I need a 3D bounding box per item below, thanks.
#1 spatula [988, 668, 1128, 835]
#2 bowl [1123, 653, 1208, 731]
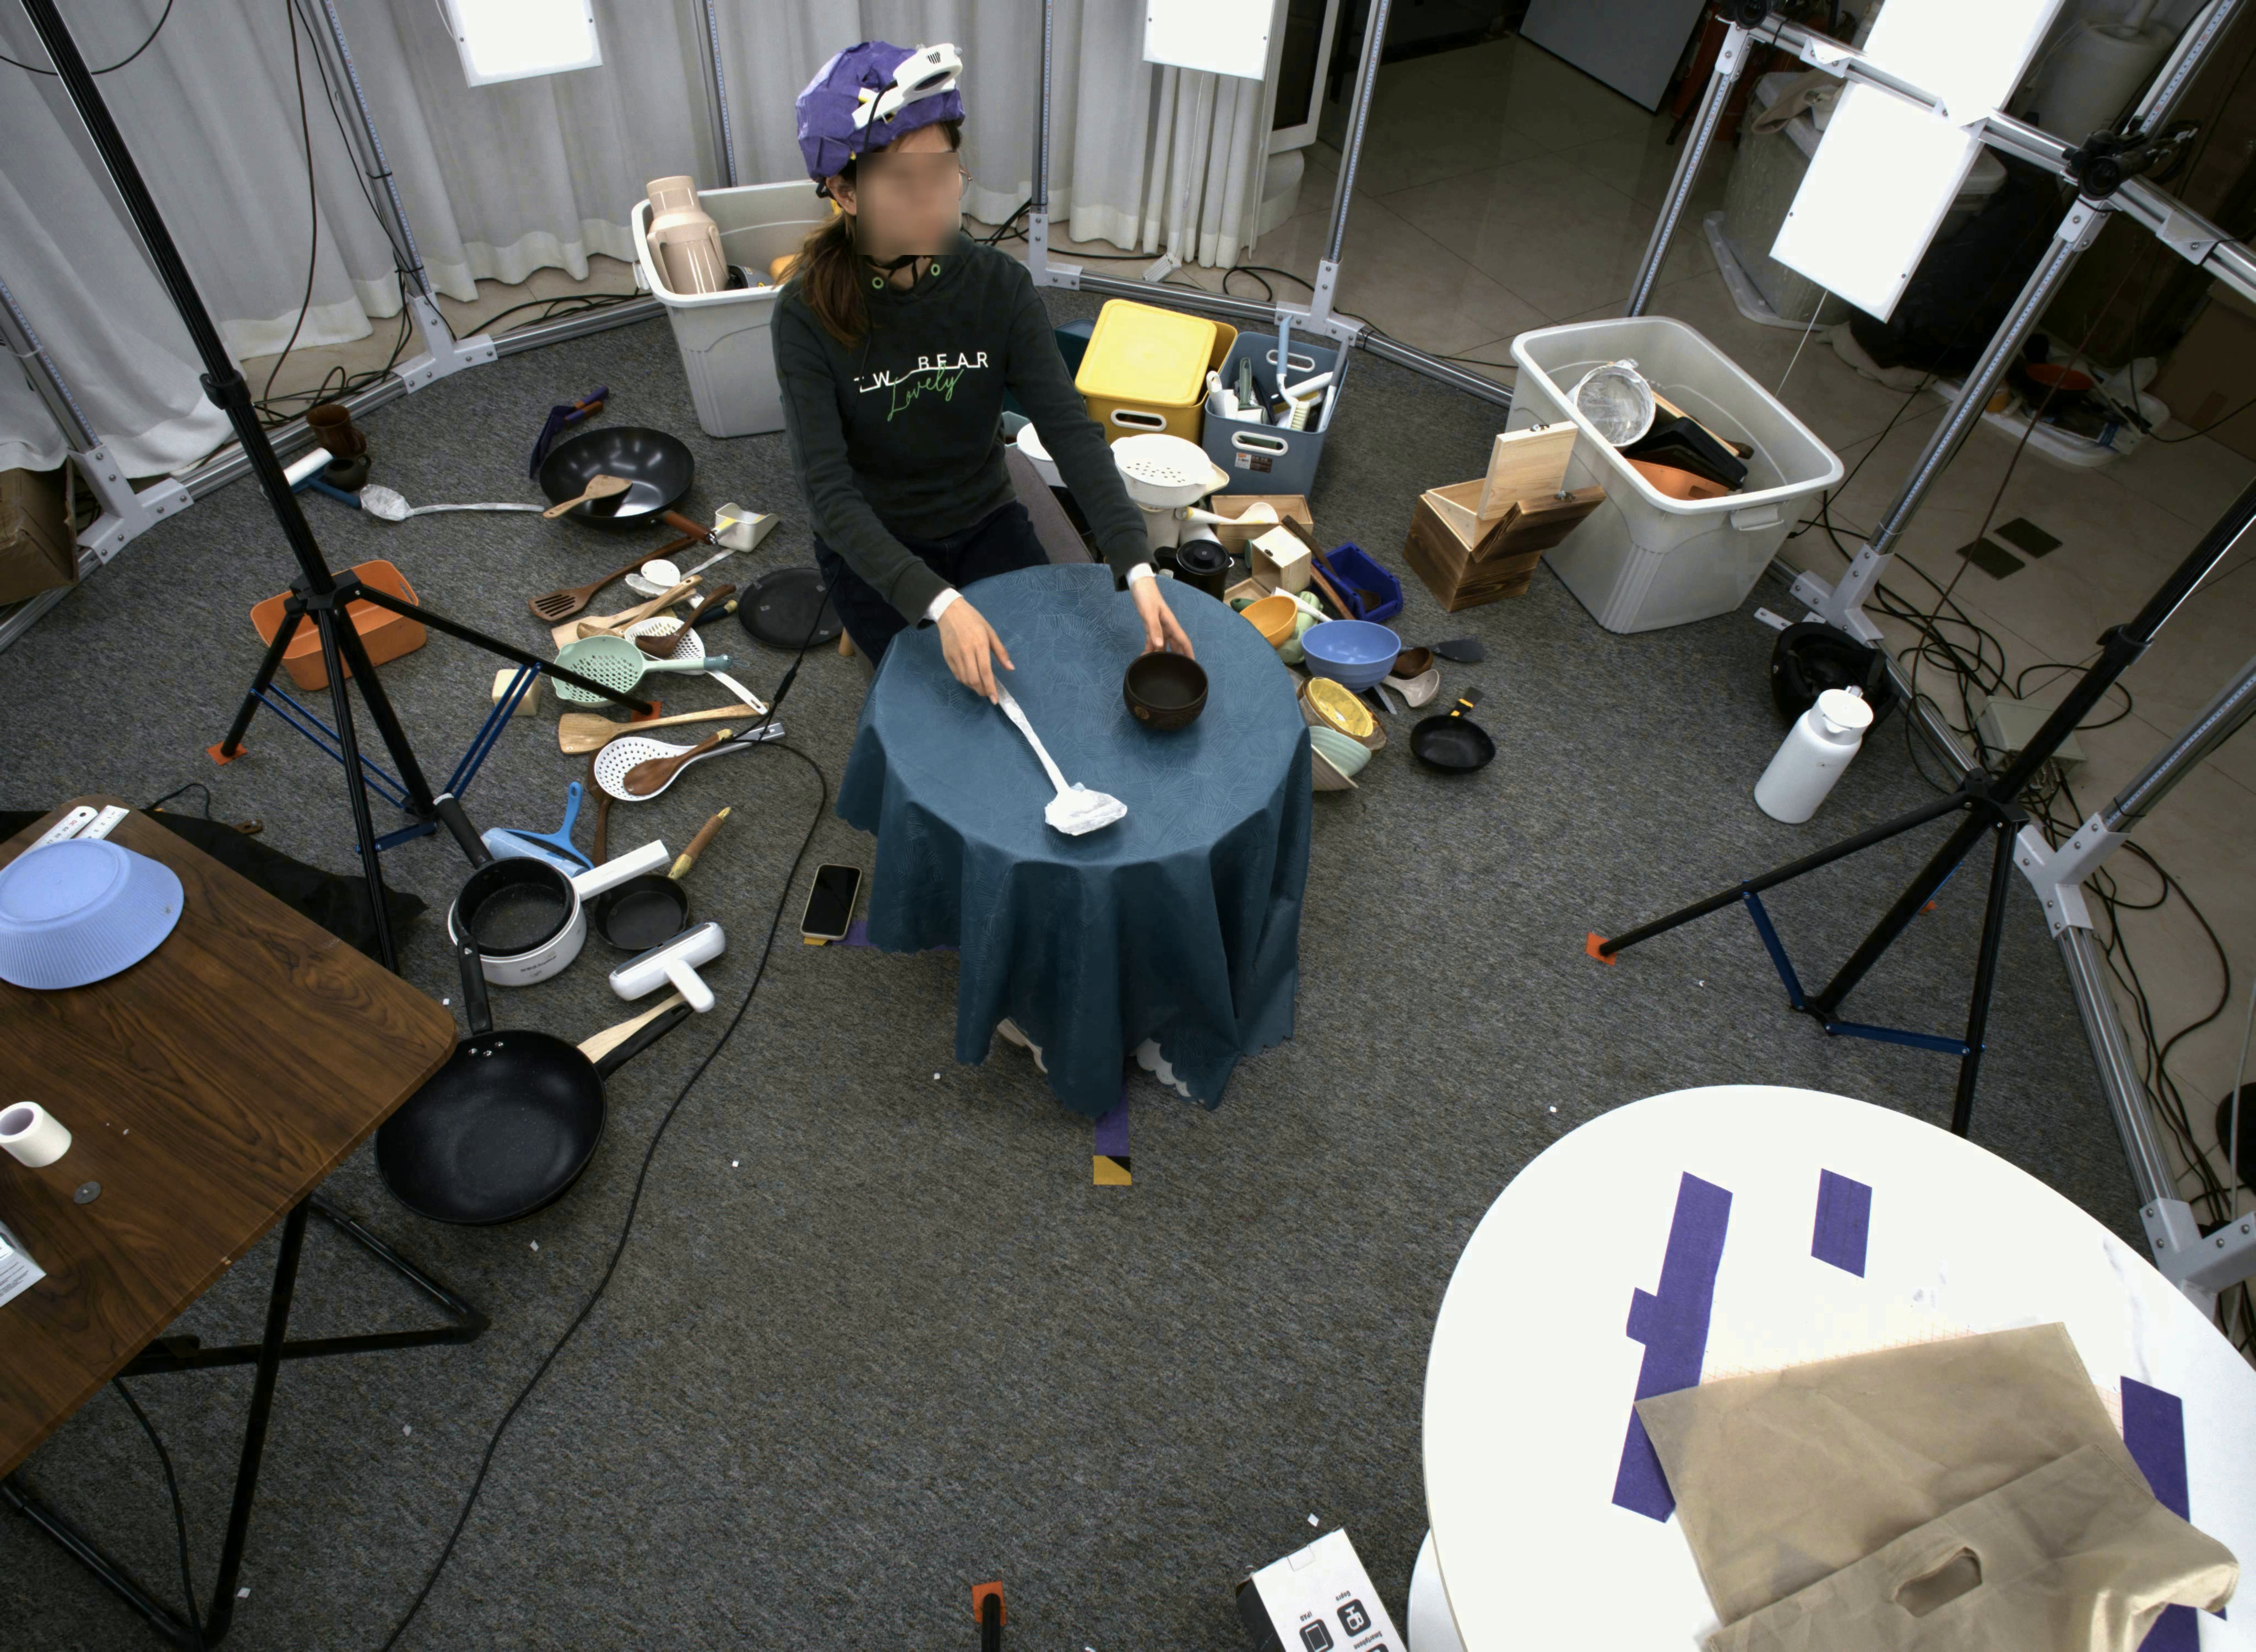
[{"bbox_3d":[-0.118,-0.112,1.749,0.099,0.043,0.373,-21,53,-18],"label":"spatula"},{"bbox_3d":[0.051,-0.180,1.798,0.118,0.068,0.121,3,47,-3],"label":"bowl"}]
